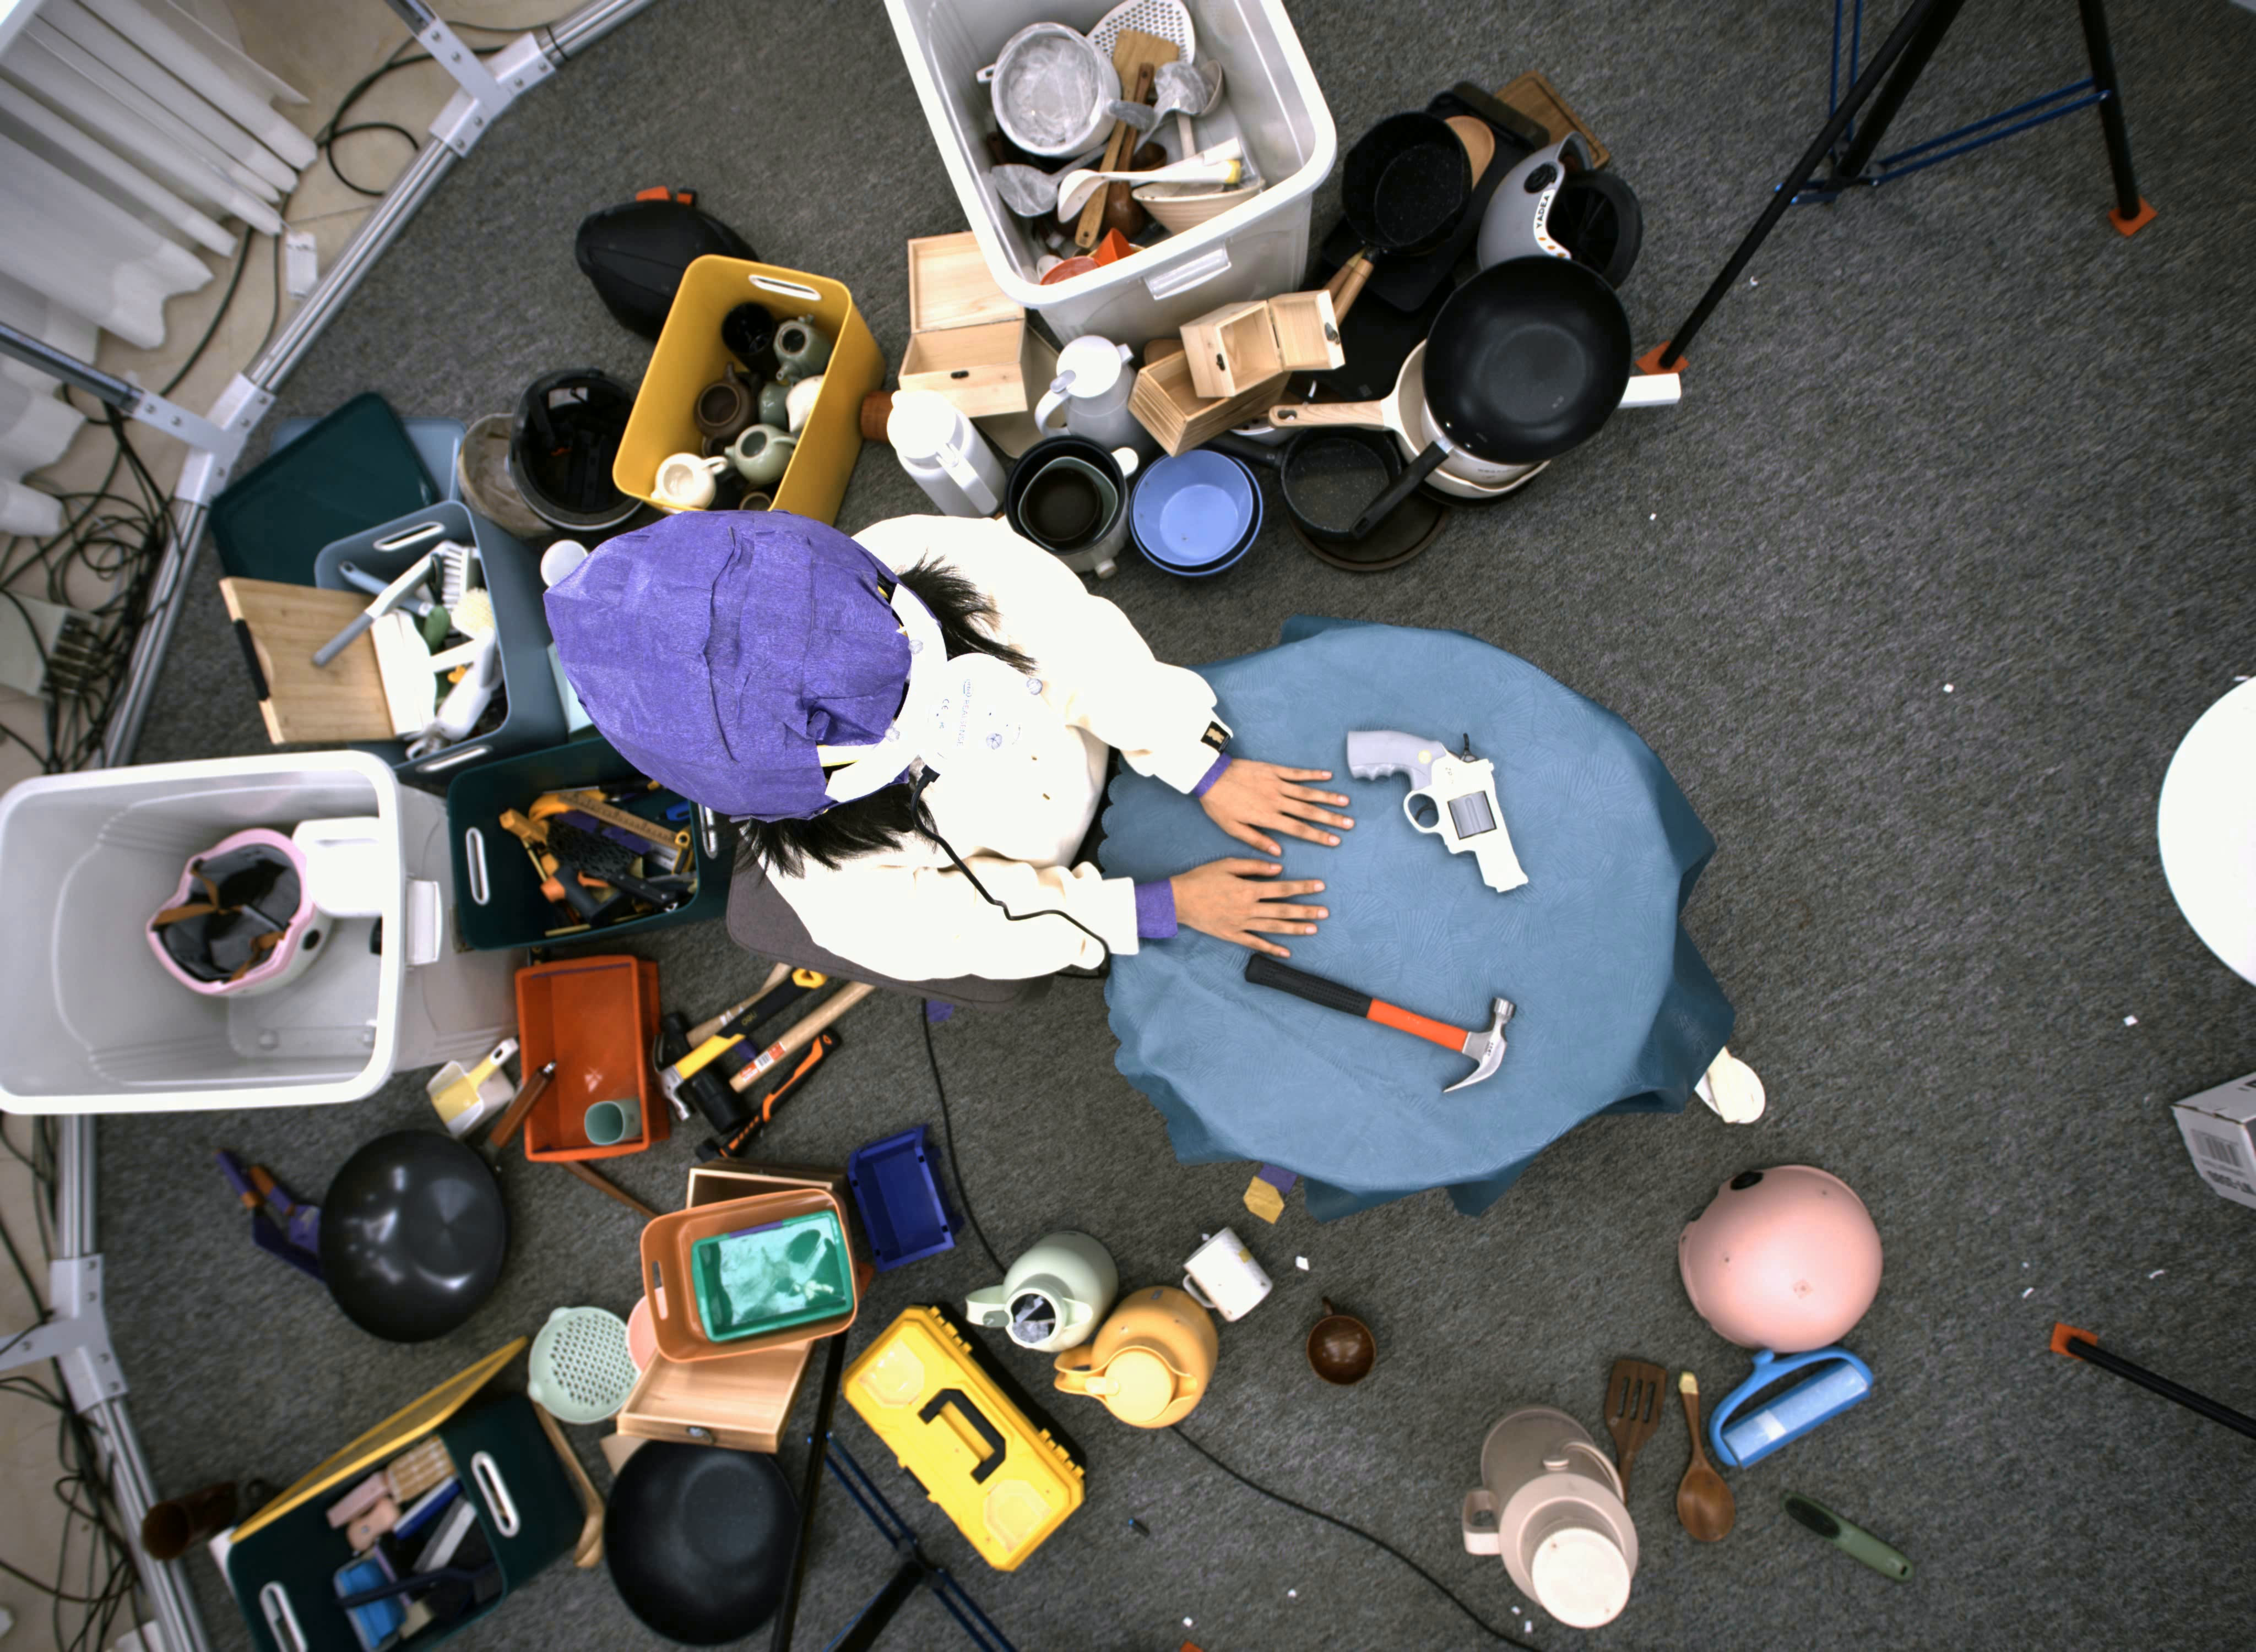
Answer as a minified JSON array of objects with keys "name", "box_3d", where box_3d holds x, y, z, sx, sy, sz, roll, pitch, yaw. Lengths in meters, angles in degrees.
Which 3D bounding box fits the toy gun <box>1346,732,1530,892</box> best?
[{"name":"toy gun","box_3d":[0.320,-0.020,1.436,0.142,0.039,0.208,-19,84,7]}]

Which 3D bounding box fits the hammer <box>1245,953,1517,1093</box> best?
[{"name":"hammer","box_3d":[0.256,0.191,1.442,0.277,0.026,0.111,18,99,11]}]
